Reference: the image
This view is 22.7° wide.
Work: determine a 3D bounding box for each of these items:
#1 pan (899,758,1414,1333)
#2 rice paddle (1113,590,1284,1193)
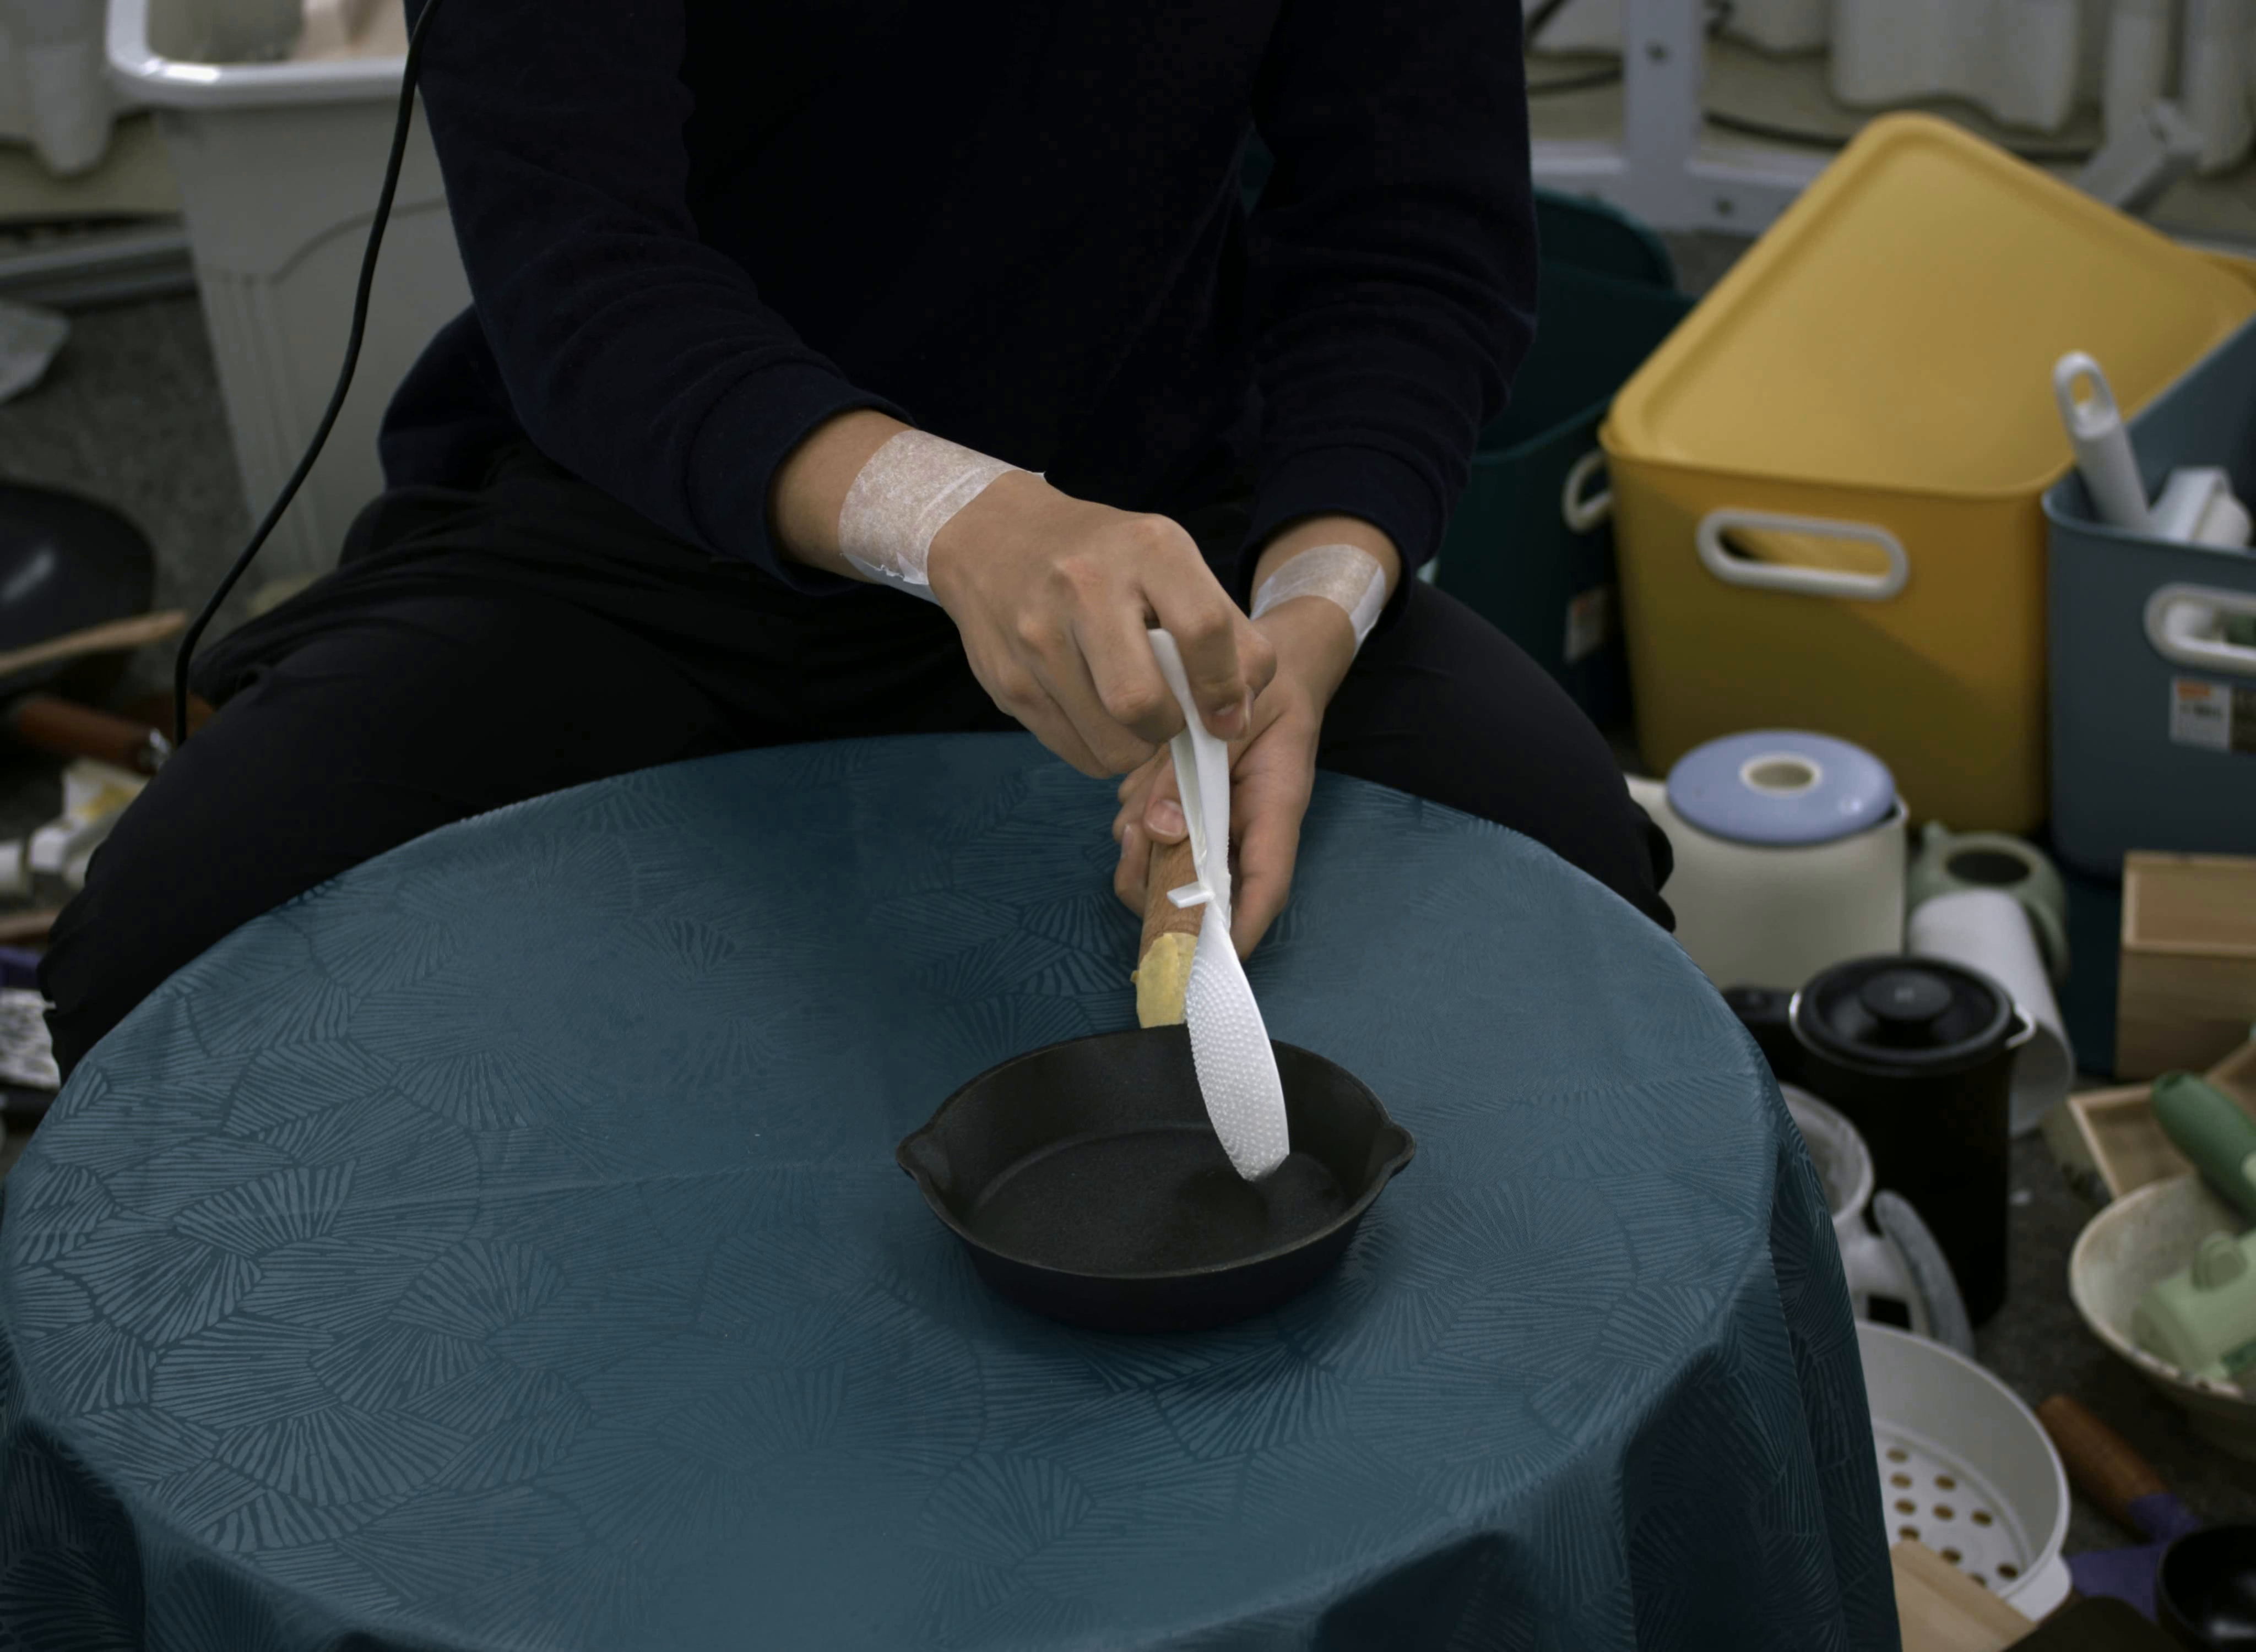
[{"bbox_3d":[0.017,0.071,1.903,0.168,0.049,0.329,0,29,6],"label":"pan"},{"bbox_3d":[0.028,0.024,1.820,0.029,0.204,0.069,-15,19,-15],"label":"rice paddle"}]
